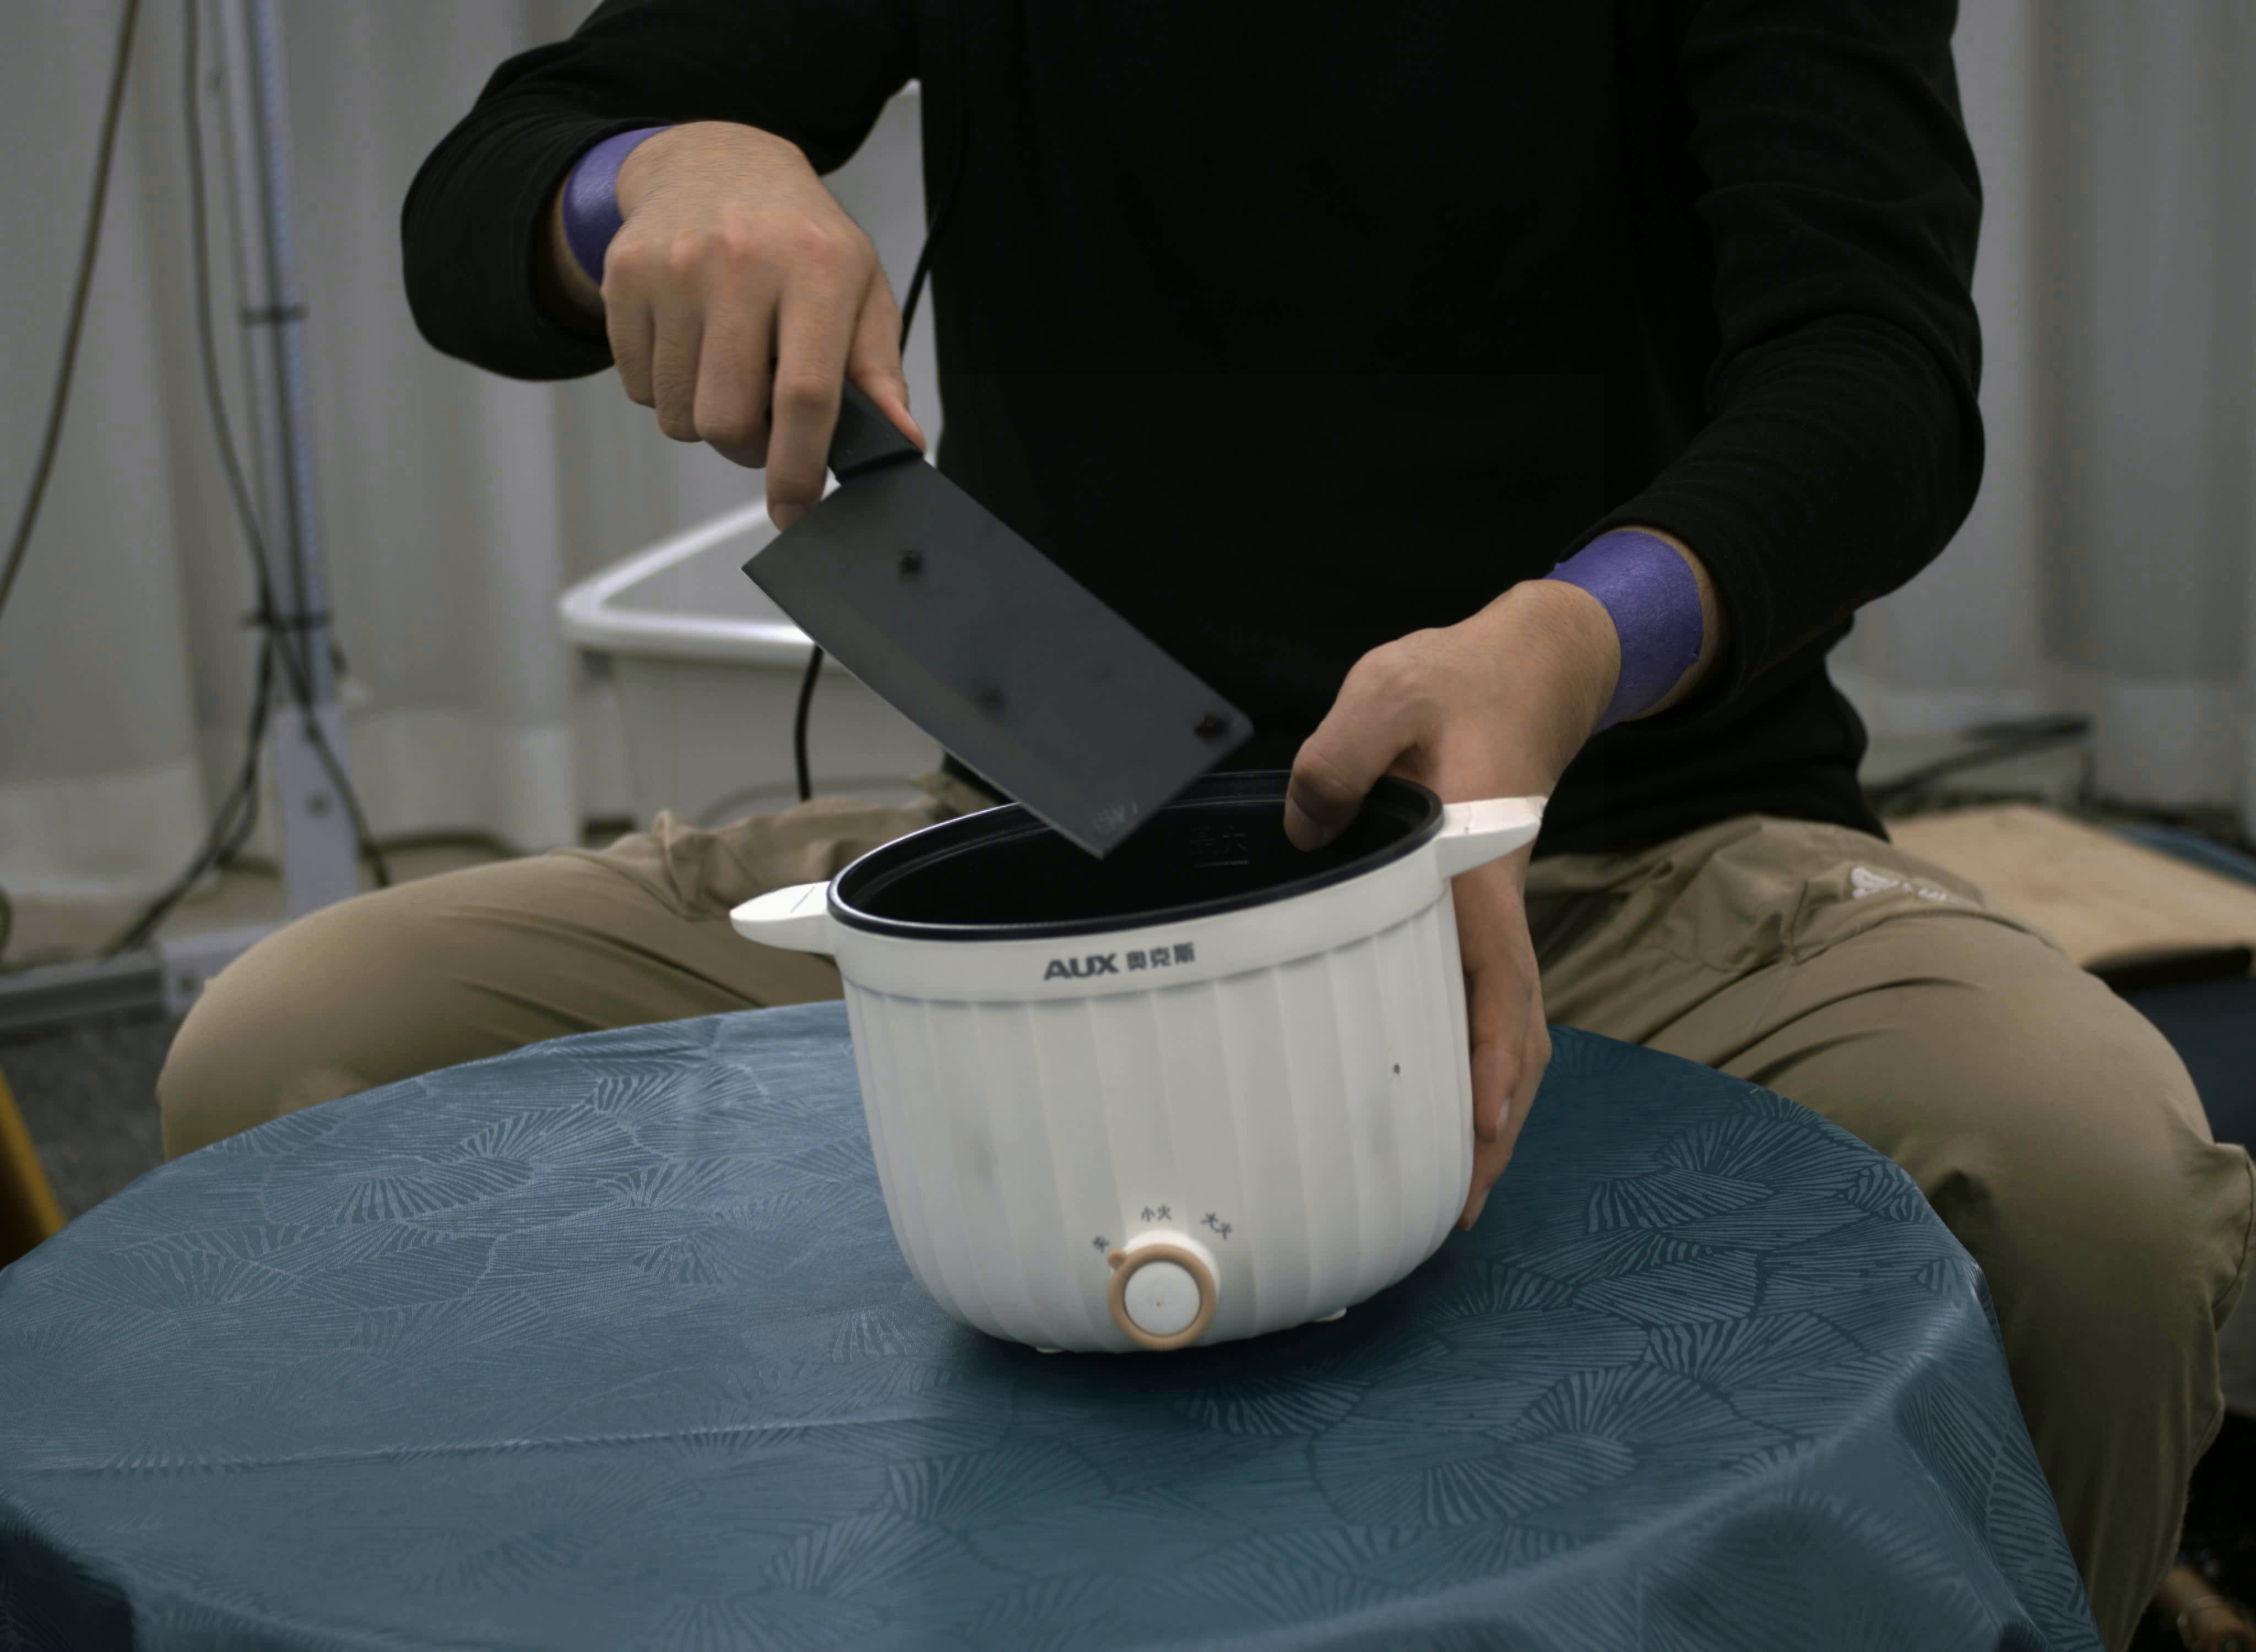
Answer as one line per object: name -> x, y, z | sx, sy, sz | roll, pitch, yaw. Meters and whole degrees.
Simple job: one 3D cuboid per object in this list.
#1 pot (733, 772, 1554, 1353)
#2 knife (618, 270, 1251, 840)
pot -> 0.013, 0.071, 1.587 | 0.240, 0.142, 0.191 | -8, 8, 5
knife -> -0.072, -0.088, 1.654 | 0.081, 0.020, 0.306 | -36, 48, -10
